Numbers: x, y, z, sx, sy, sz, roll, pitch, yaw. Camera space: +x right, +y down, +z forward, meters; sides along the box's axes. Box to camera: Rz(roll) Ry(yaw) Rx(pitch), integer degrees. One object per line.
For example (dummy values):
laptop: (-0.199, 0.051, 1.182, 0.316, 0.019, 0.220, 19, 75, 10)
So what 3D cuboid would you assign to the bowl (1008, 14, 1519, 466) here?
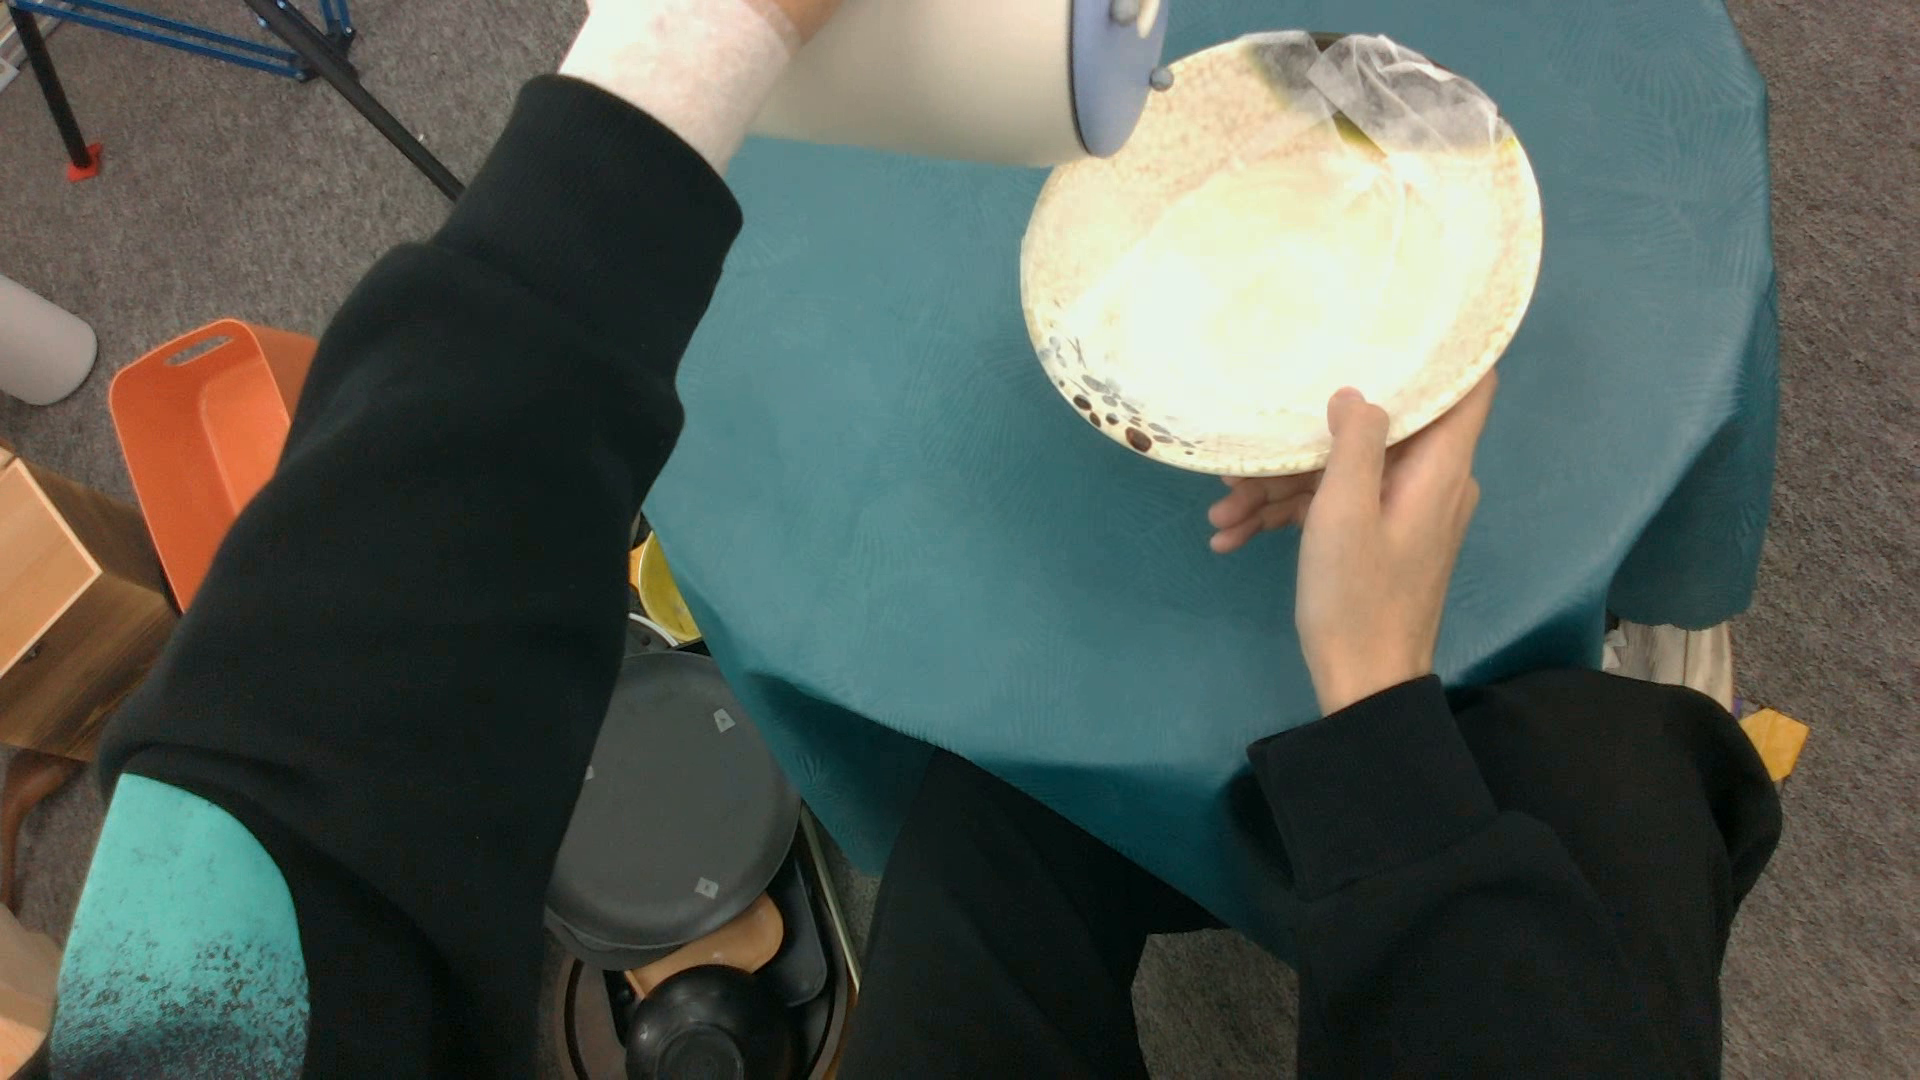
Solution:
bowl: (0.128, -0.116, 0.590, 0.203, 0.078, 0.204, -5, 71, 16)

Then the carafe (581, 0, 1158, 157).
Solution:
carafe: (-0.032, -0.210, 0.448, 0.182, 0.191, 0.132, 10, 81, 16)
